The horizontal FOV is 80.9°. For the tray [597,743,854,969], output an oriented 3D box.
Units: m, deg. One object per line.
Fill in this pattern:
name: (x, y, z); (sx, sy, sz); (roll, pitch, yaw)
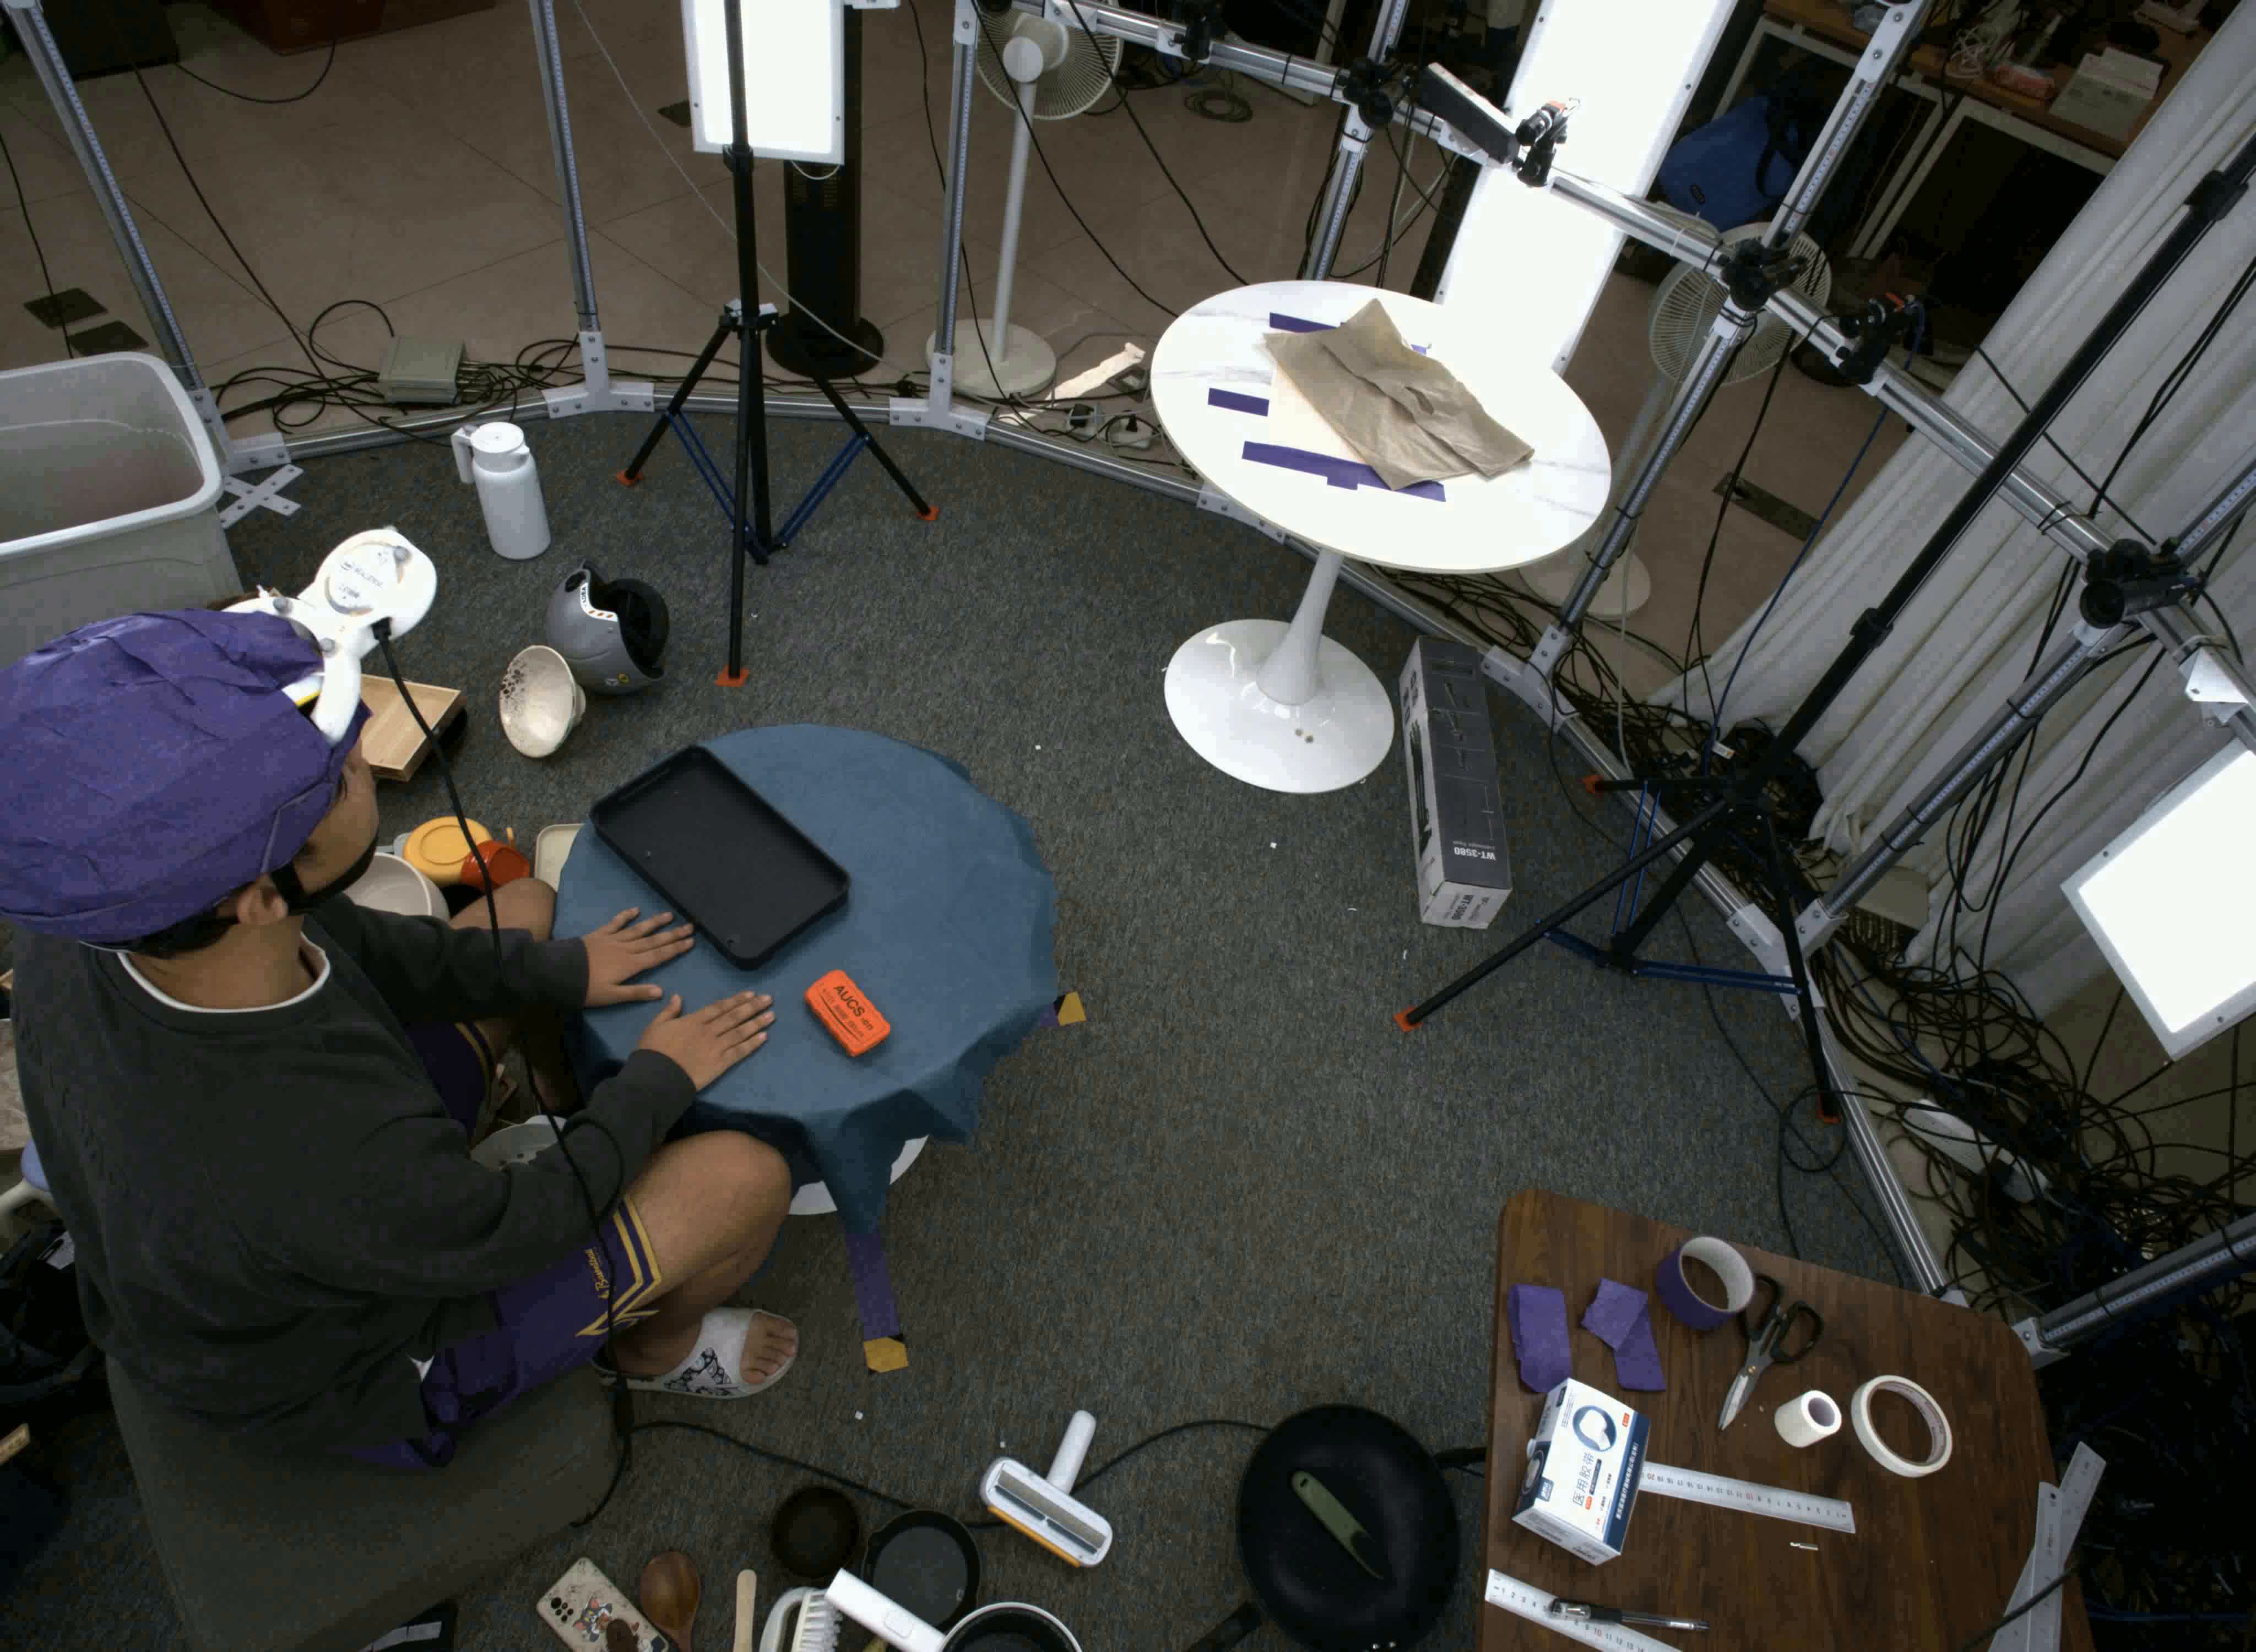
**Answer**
tray: (-0.520, 0.032, 1.658); (0.312, 0.038, 0.184); (38, 55, 14)

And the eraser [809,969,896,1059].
eraser: (-0.332, 0.223, 1.566); (0.059, 0.023, 0.106); (-36, 70, -26)
